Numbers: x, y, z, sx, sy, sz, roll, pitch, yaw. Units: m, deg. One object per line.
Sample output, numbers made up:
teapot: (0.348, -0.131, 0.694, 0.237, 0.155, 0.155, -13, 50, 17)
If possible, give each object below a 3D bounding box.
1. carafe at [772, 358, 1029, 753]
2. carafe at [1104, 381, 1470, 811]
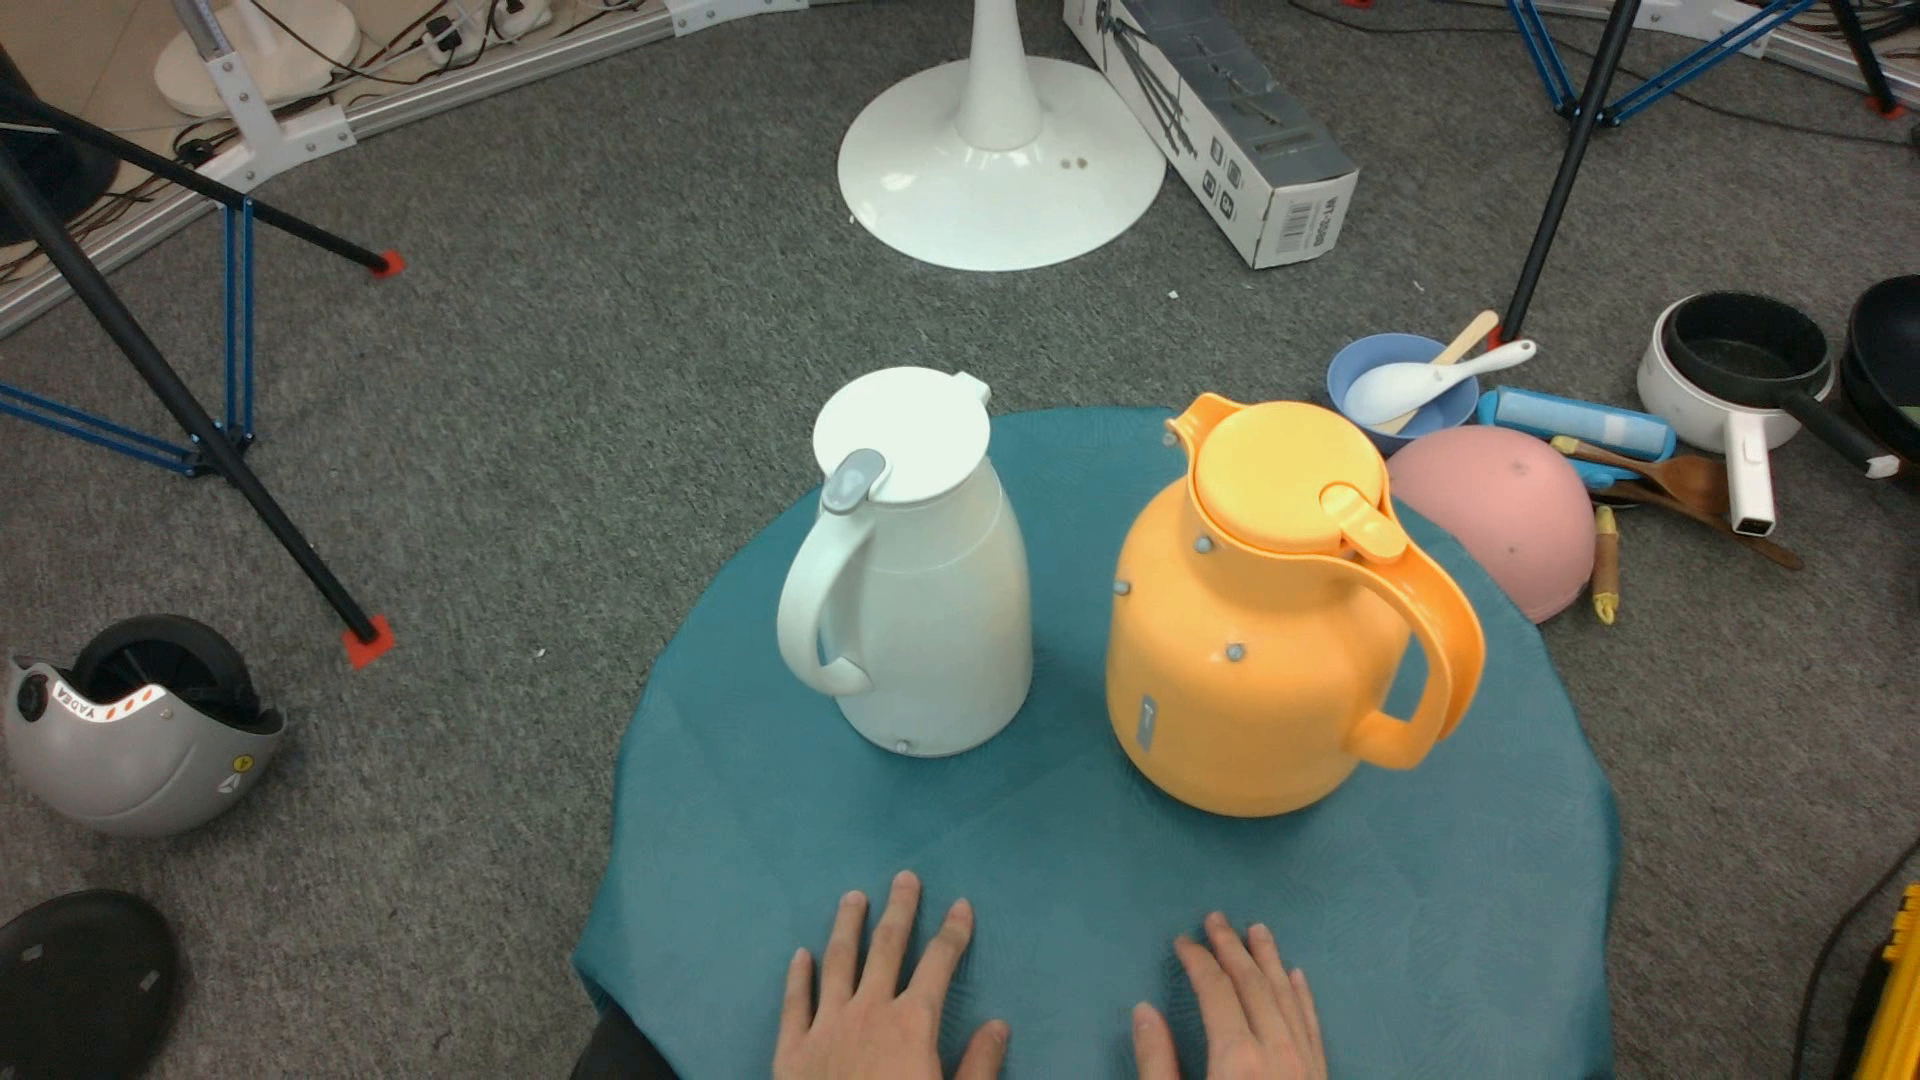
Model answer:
carafe: (-0.039, 0.022, 0.789, 0.132, 0.247, 0.168, 29, 61, 22)
carafe: (0.173, 0.044, 0.754, 0.164, 0.259, 0.202, -35, 58, -18)
